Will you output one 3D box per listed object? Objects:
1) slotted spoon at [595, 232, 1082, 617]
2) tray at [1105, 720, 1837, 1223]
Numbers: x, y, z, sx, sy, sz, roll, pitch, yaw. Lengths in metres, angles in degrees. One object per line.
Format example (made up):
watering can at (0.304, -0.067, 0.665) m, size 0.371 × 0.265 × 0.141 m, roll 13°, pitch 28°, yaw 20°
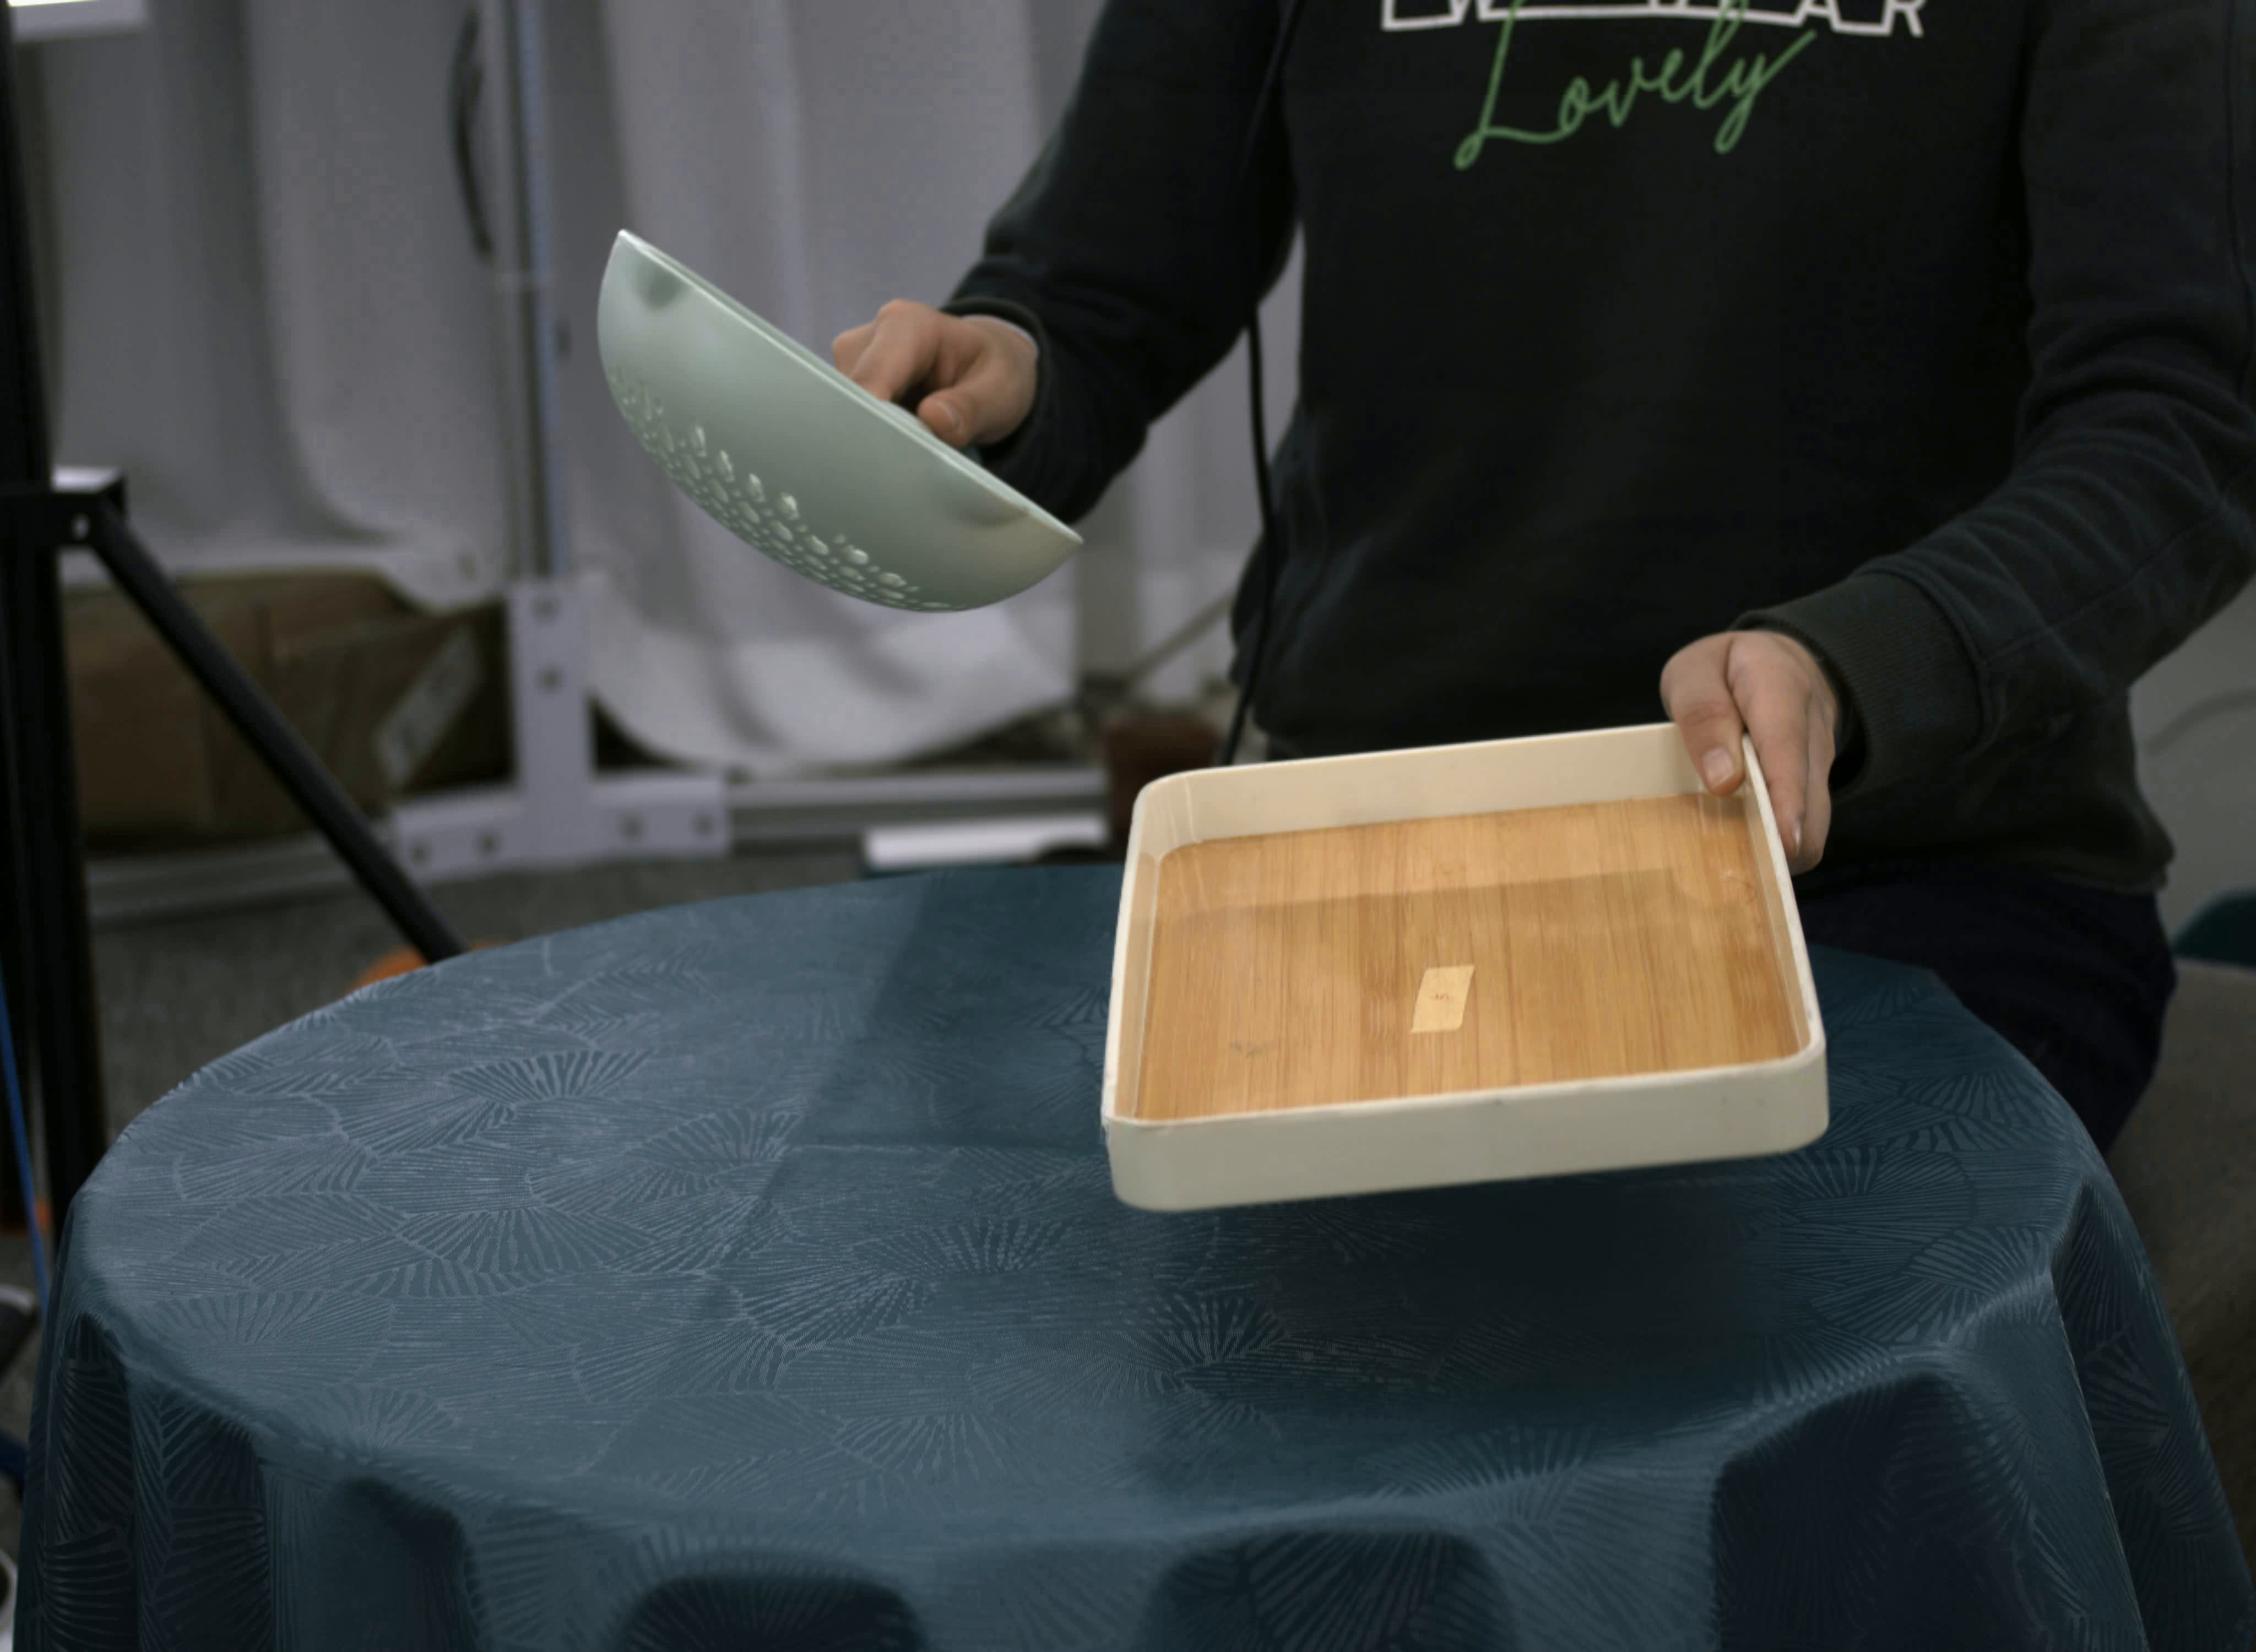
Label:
slotted spoon at (-0.083, -0.120, 1.711) m, size 0.170 × 0.075 × 0.356 m, roll 35°, pitch 10°, yaw 5°
tray at (0.094, 0.036, 1.497) m, size 0.191 × 0.027 × 0.301 m, roll -6°, pitch 19°, yaw 5°
